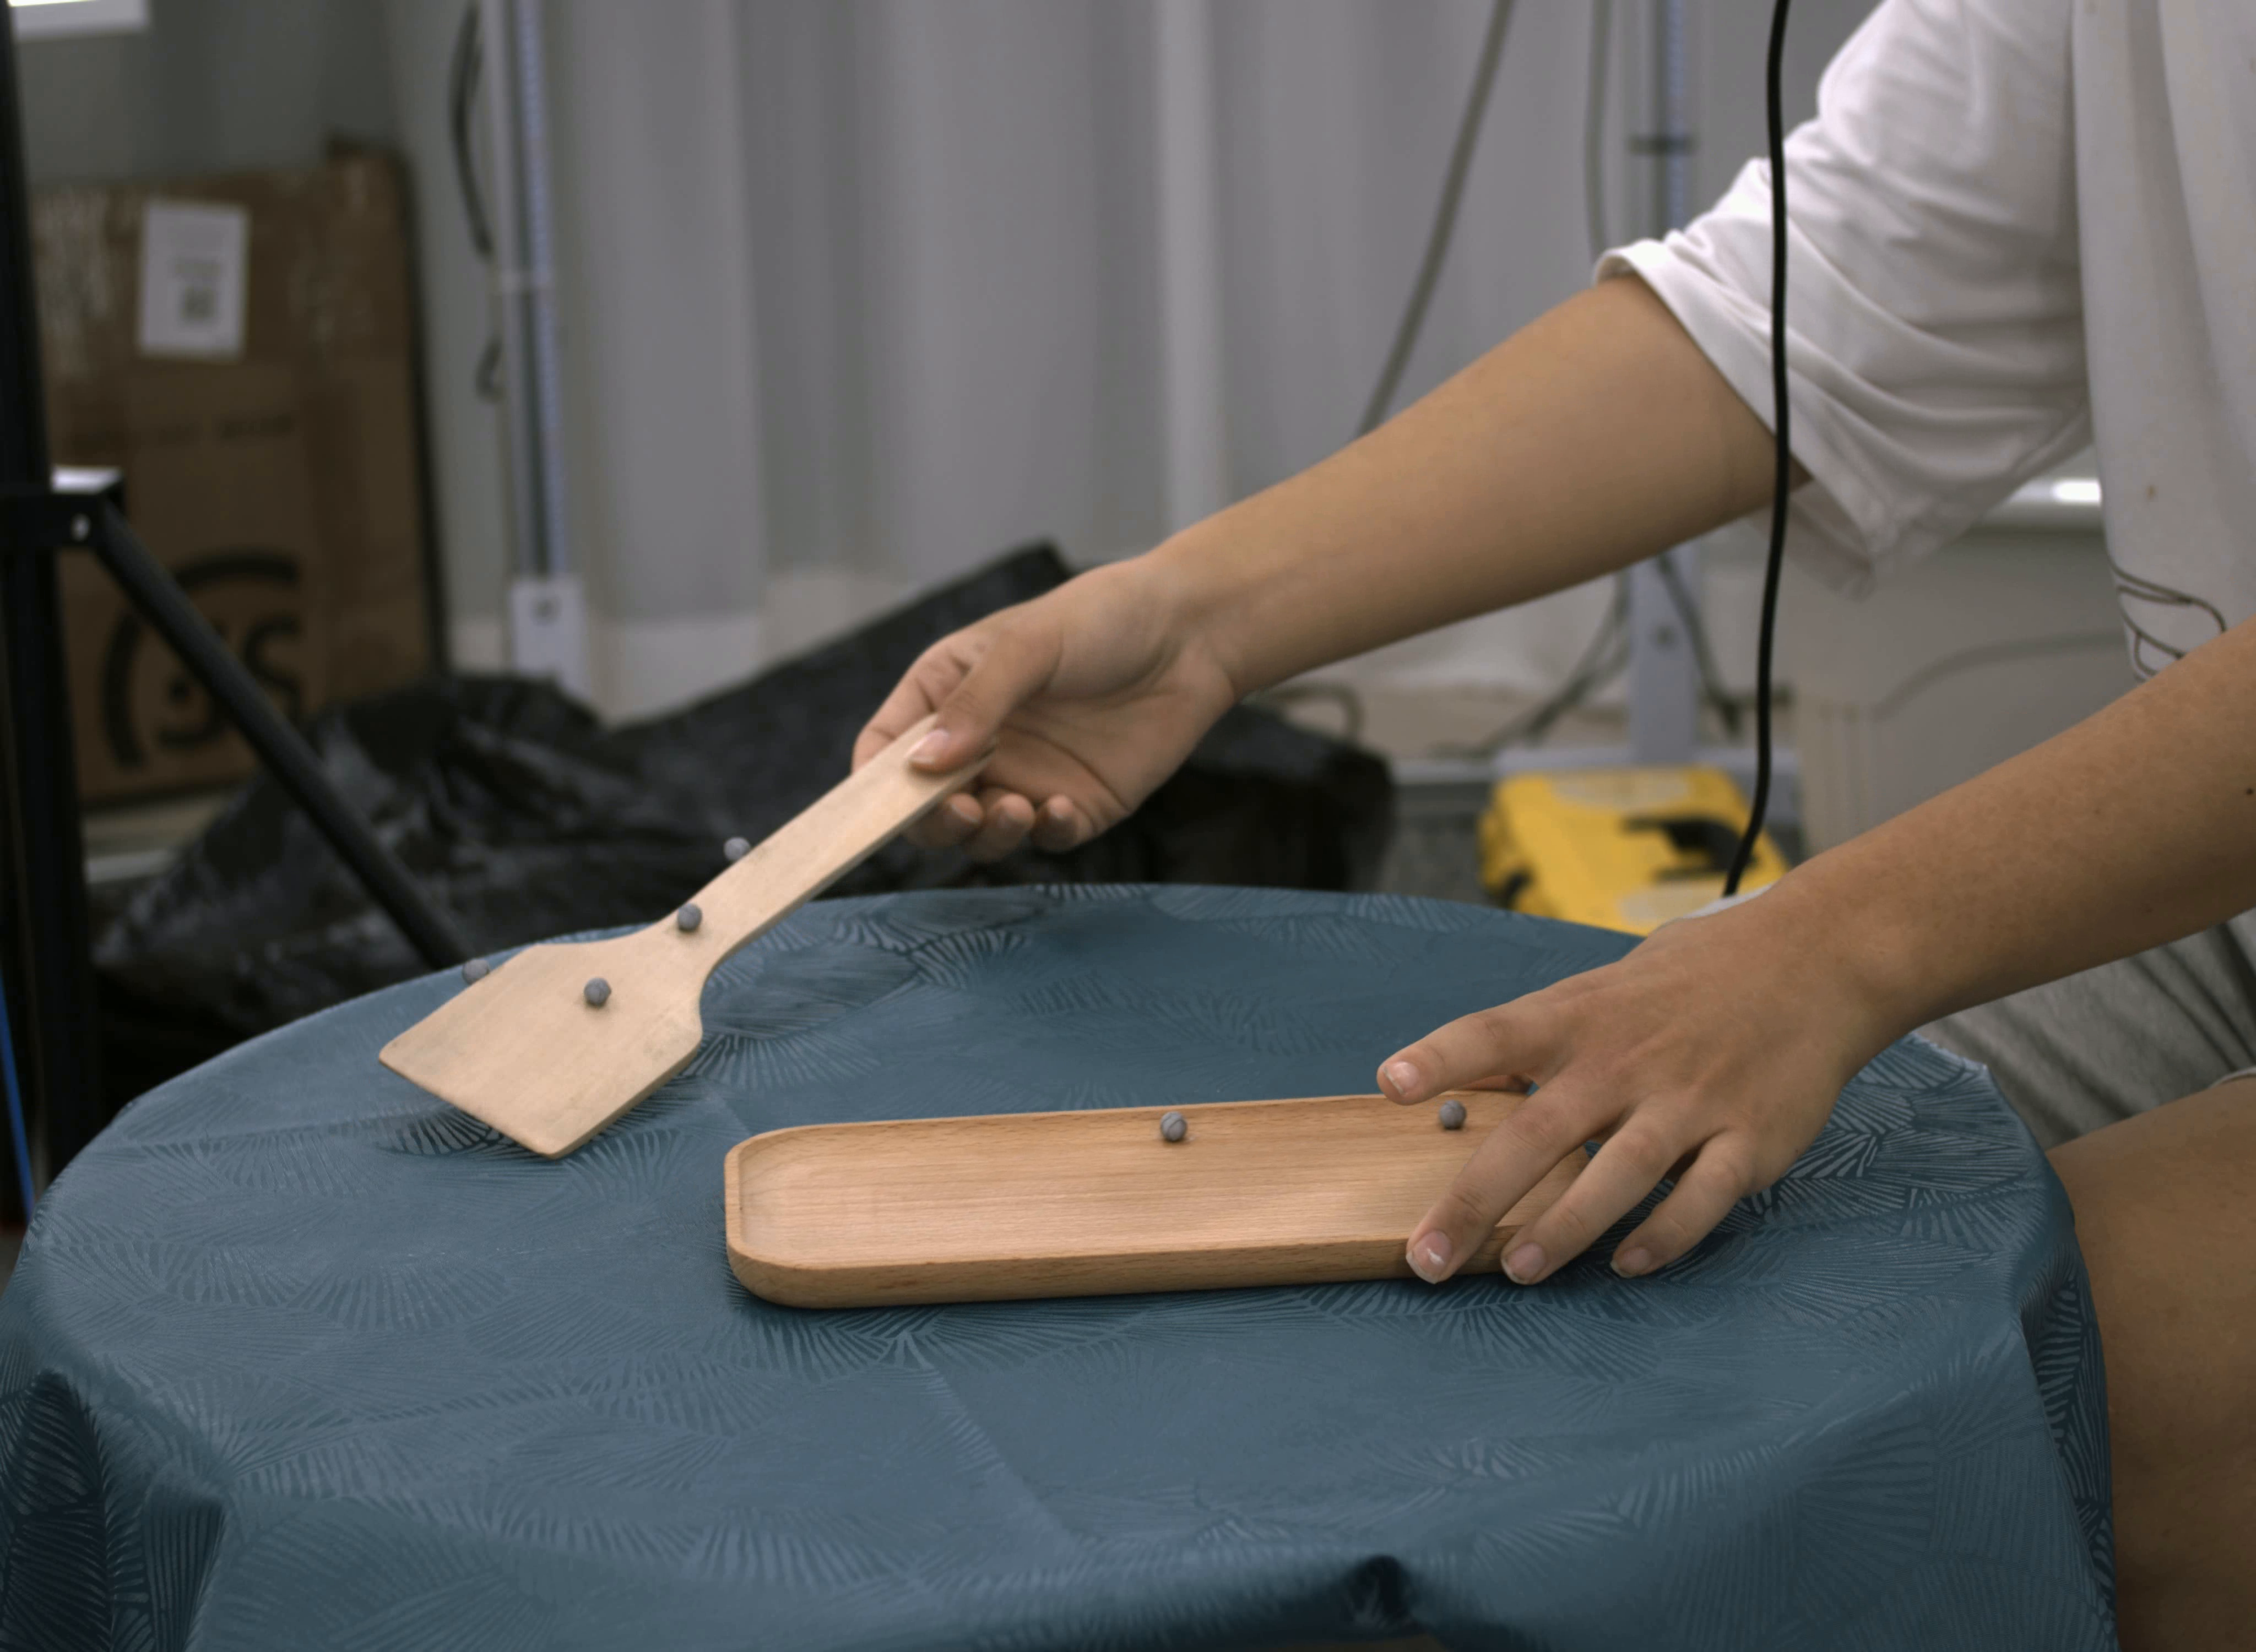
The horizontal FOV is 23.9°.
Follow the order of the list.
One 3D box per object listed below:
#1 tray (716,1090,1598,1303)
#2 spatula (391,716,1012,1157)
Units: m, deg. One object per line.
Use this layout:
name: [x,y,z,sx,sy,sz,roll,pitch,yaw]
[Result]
tray: [0.007,0.107,1.532,0.249,0.023,0.131,-3,12,-1]
spatula: [-0.125,0.027,1.729,0.073,0.010,0.289,25,37,23]
